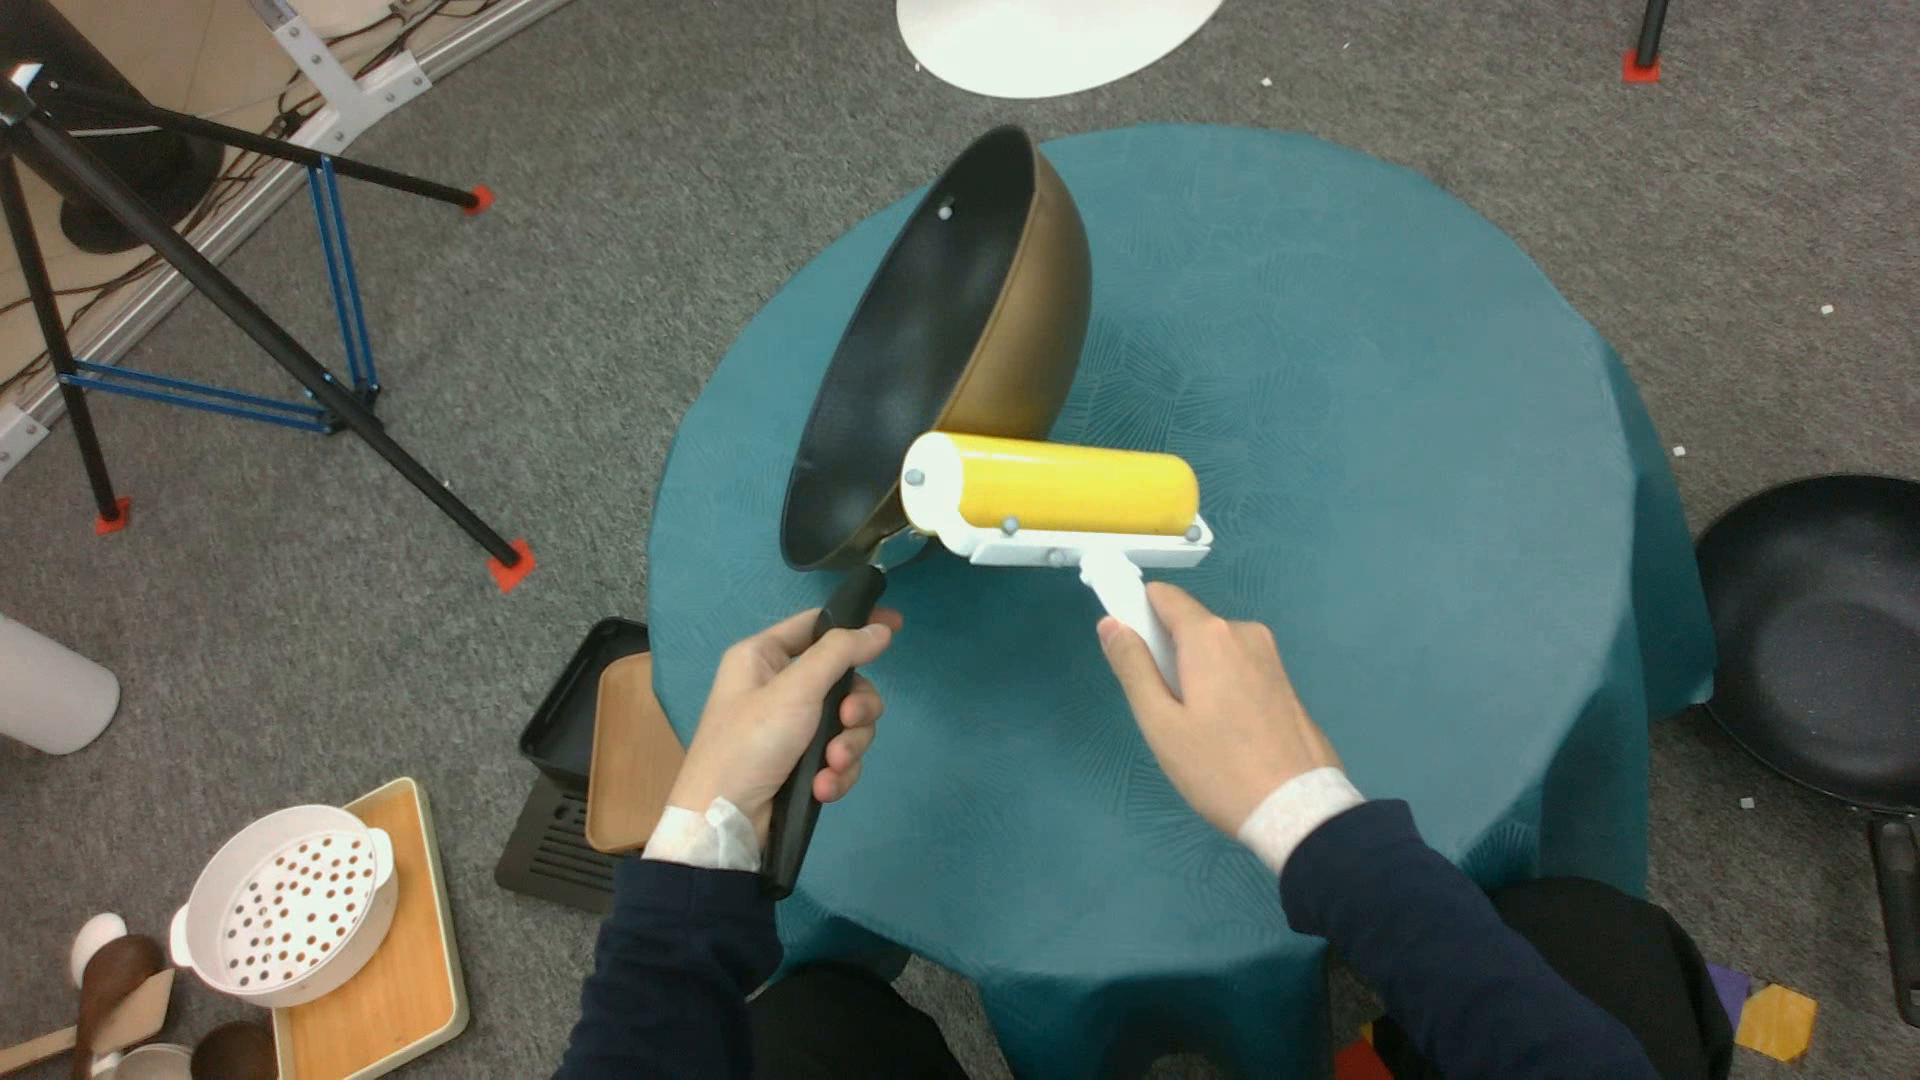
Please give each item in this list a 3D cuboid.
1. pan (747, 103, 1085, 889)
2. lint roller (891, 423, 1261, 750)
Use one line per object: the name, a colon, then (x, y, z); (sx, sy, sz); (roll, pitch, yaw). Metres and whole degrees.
pan: (-0.024, -0.029, 0.739); (0.087, 0.286, 0.465); (25, 52, -21)
lint roller: (0.081, 0.014, 0.639); (0.192, 0.175, 0.051); (48, 125, 37)
